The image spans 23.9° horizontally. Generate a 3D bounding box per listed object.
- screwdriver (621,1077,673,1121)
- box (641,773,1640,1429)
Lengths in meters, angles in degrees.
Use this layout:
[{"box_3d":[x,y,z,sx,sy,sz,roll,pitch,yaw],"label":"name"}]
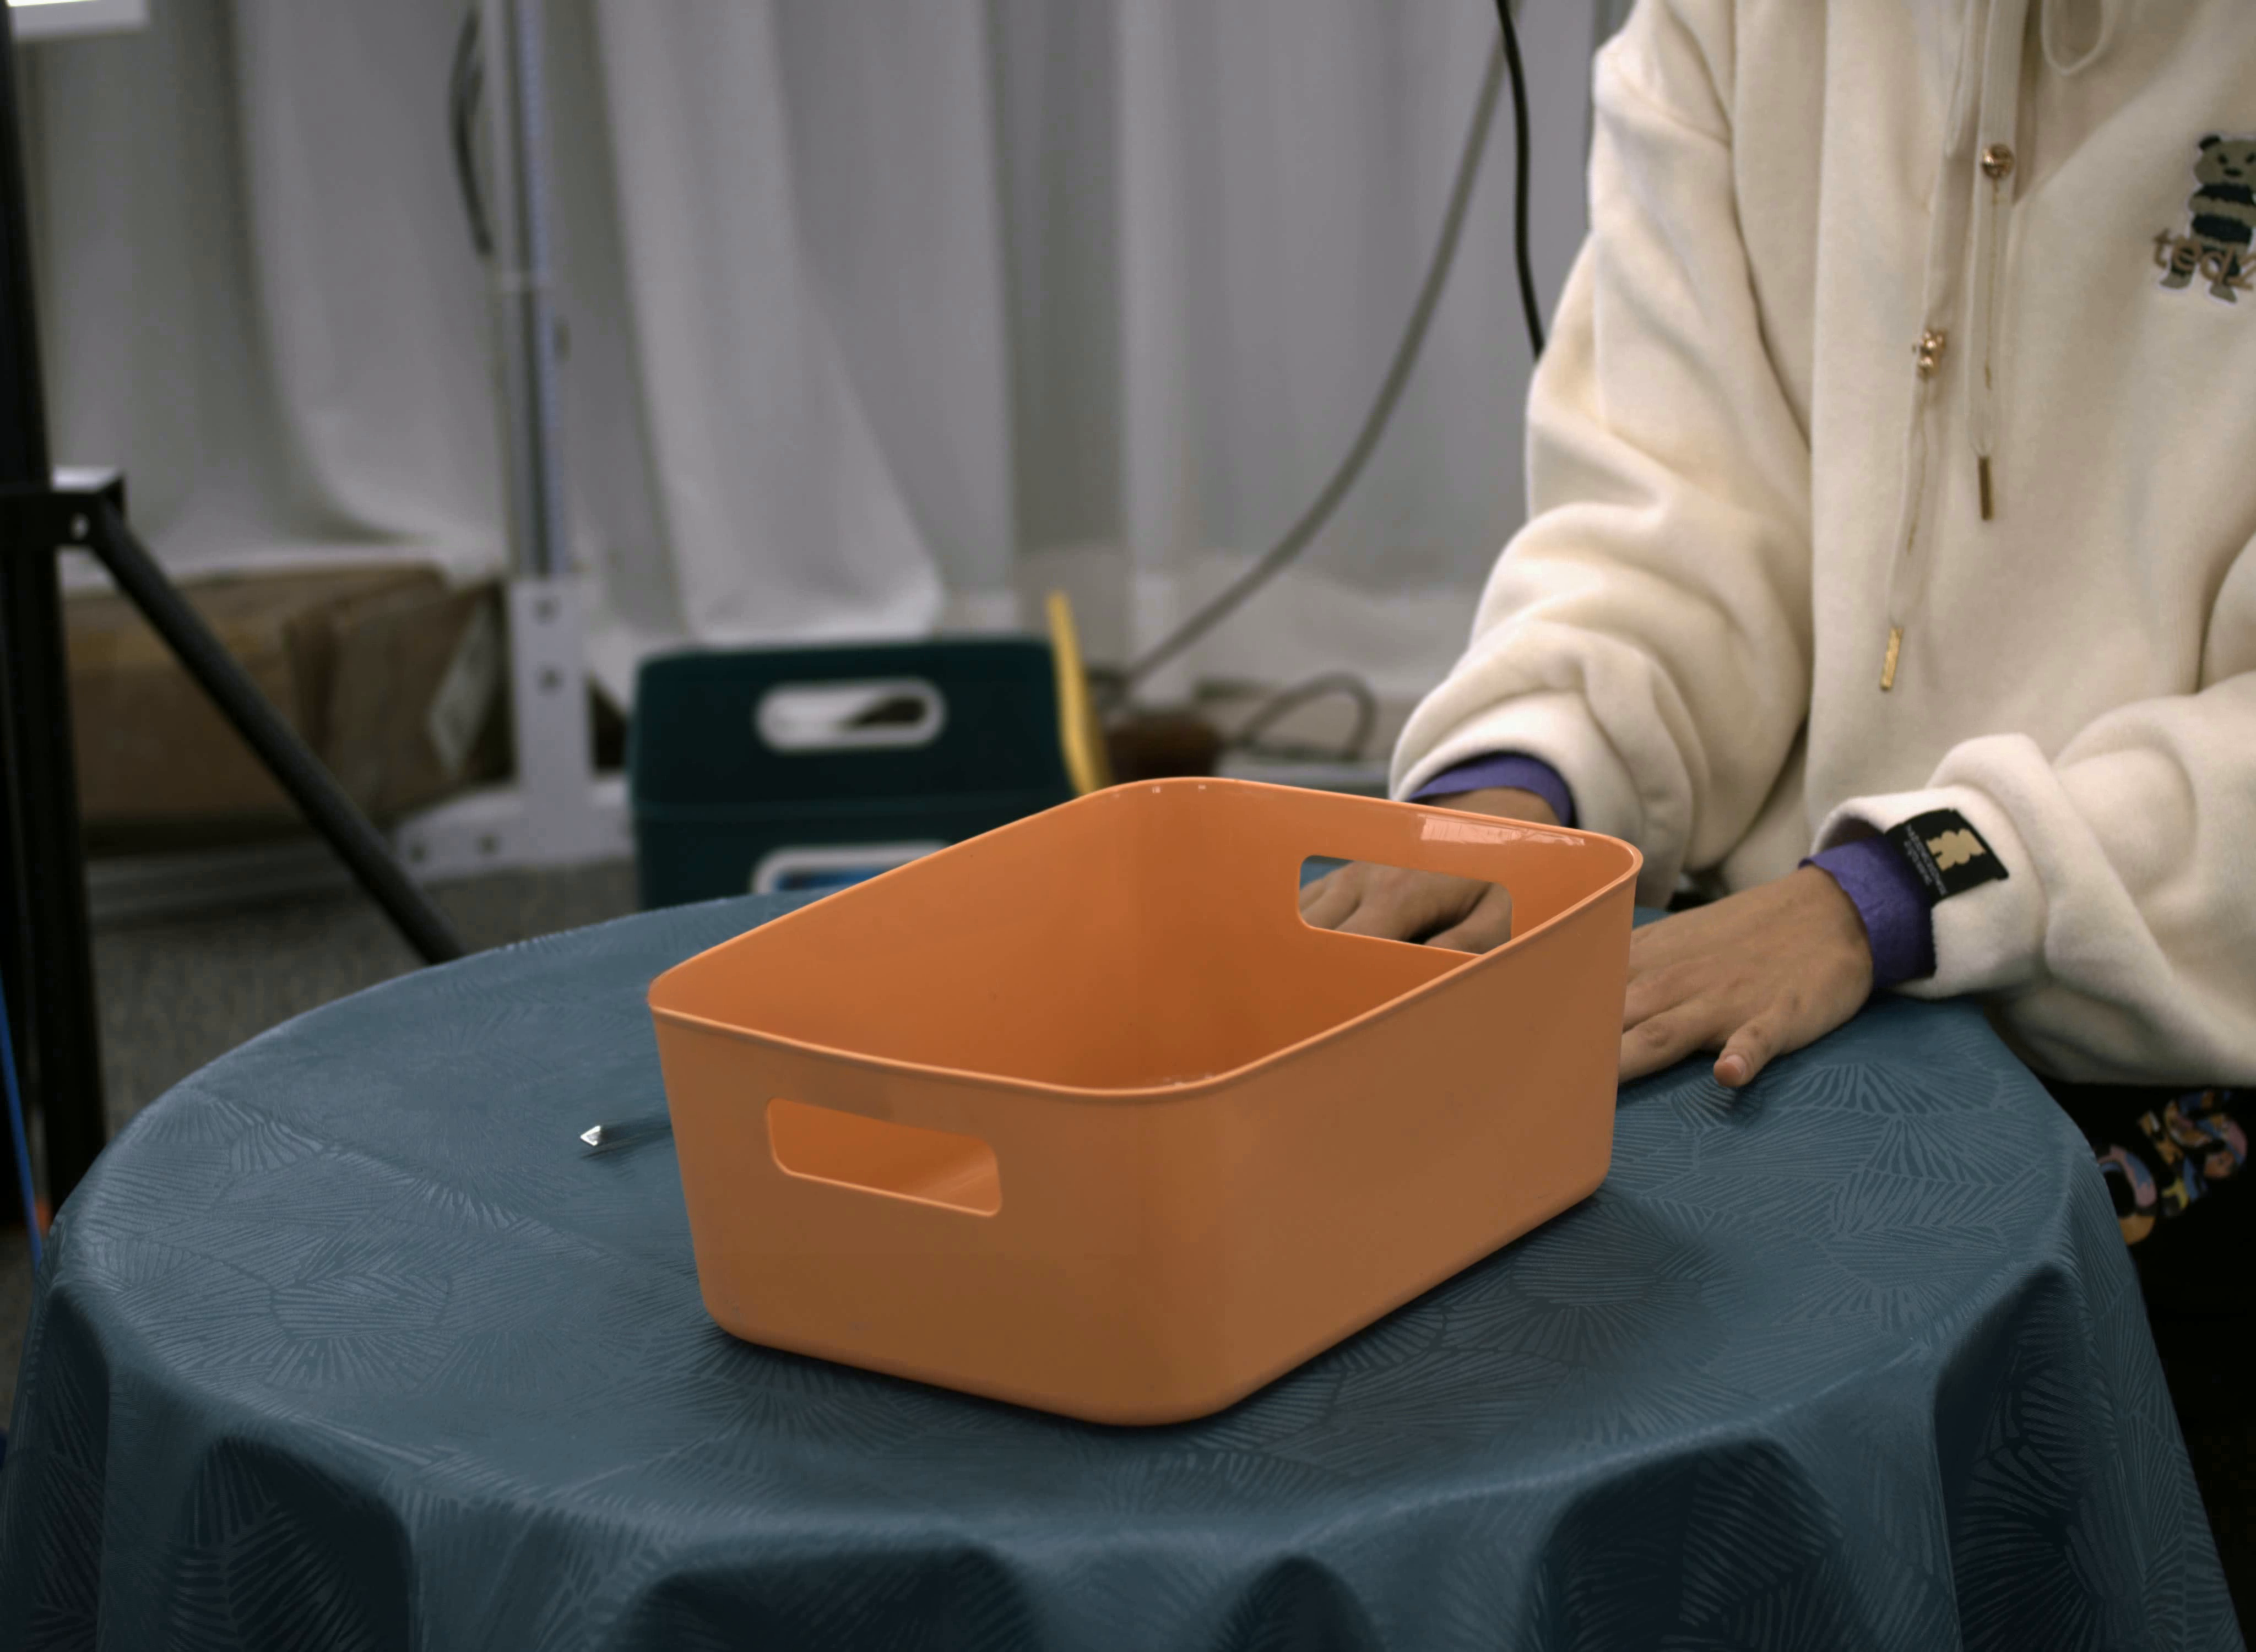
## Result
[{"box_3d":[-0.085,0.055,1.674,0.032,0.031,0.194,11,29,38],"label":"screwdriver"},{"box_3d":[0.011,0.073,1.488,0.203,0.102,0.268,8,19,35],"label":"box"}]
